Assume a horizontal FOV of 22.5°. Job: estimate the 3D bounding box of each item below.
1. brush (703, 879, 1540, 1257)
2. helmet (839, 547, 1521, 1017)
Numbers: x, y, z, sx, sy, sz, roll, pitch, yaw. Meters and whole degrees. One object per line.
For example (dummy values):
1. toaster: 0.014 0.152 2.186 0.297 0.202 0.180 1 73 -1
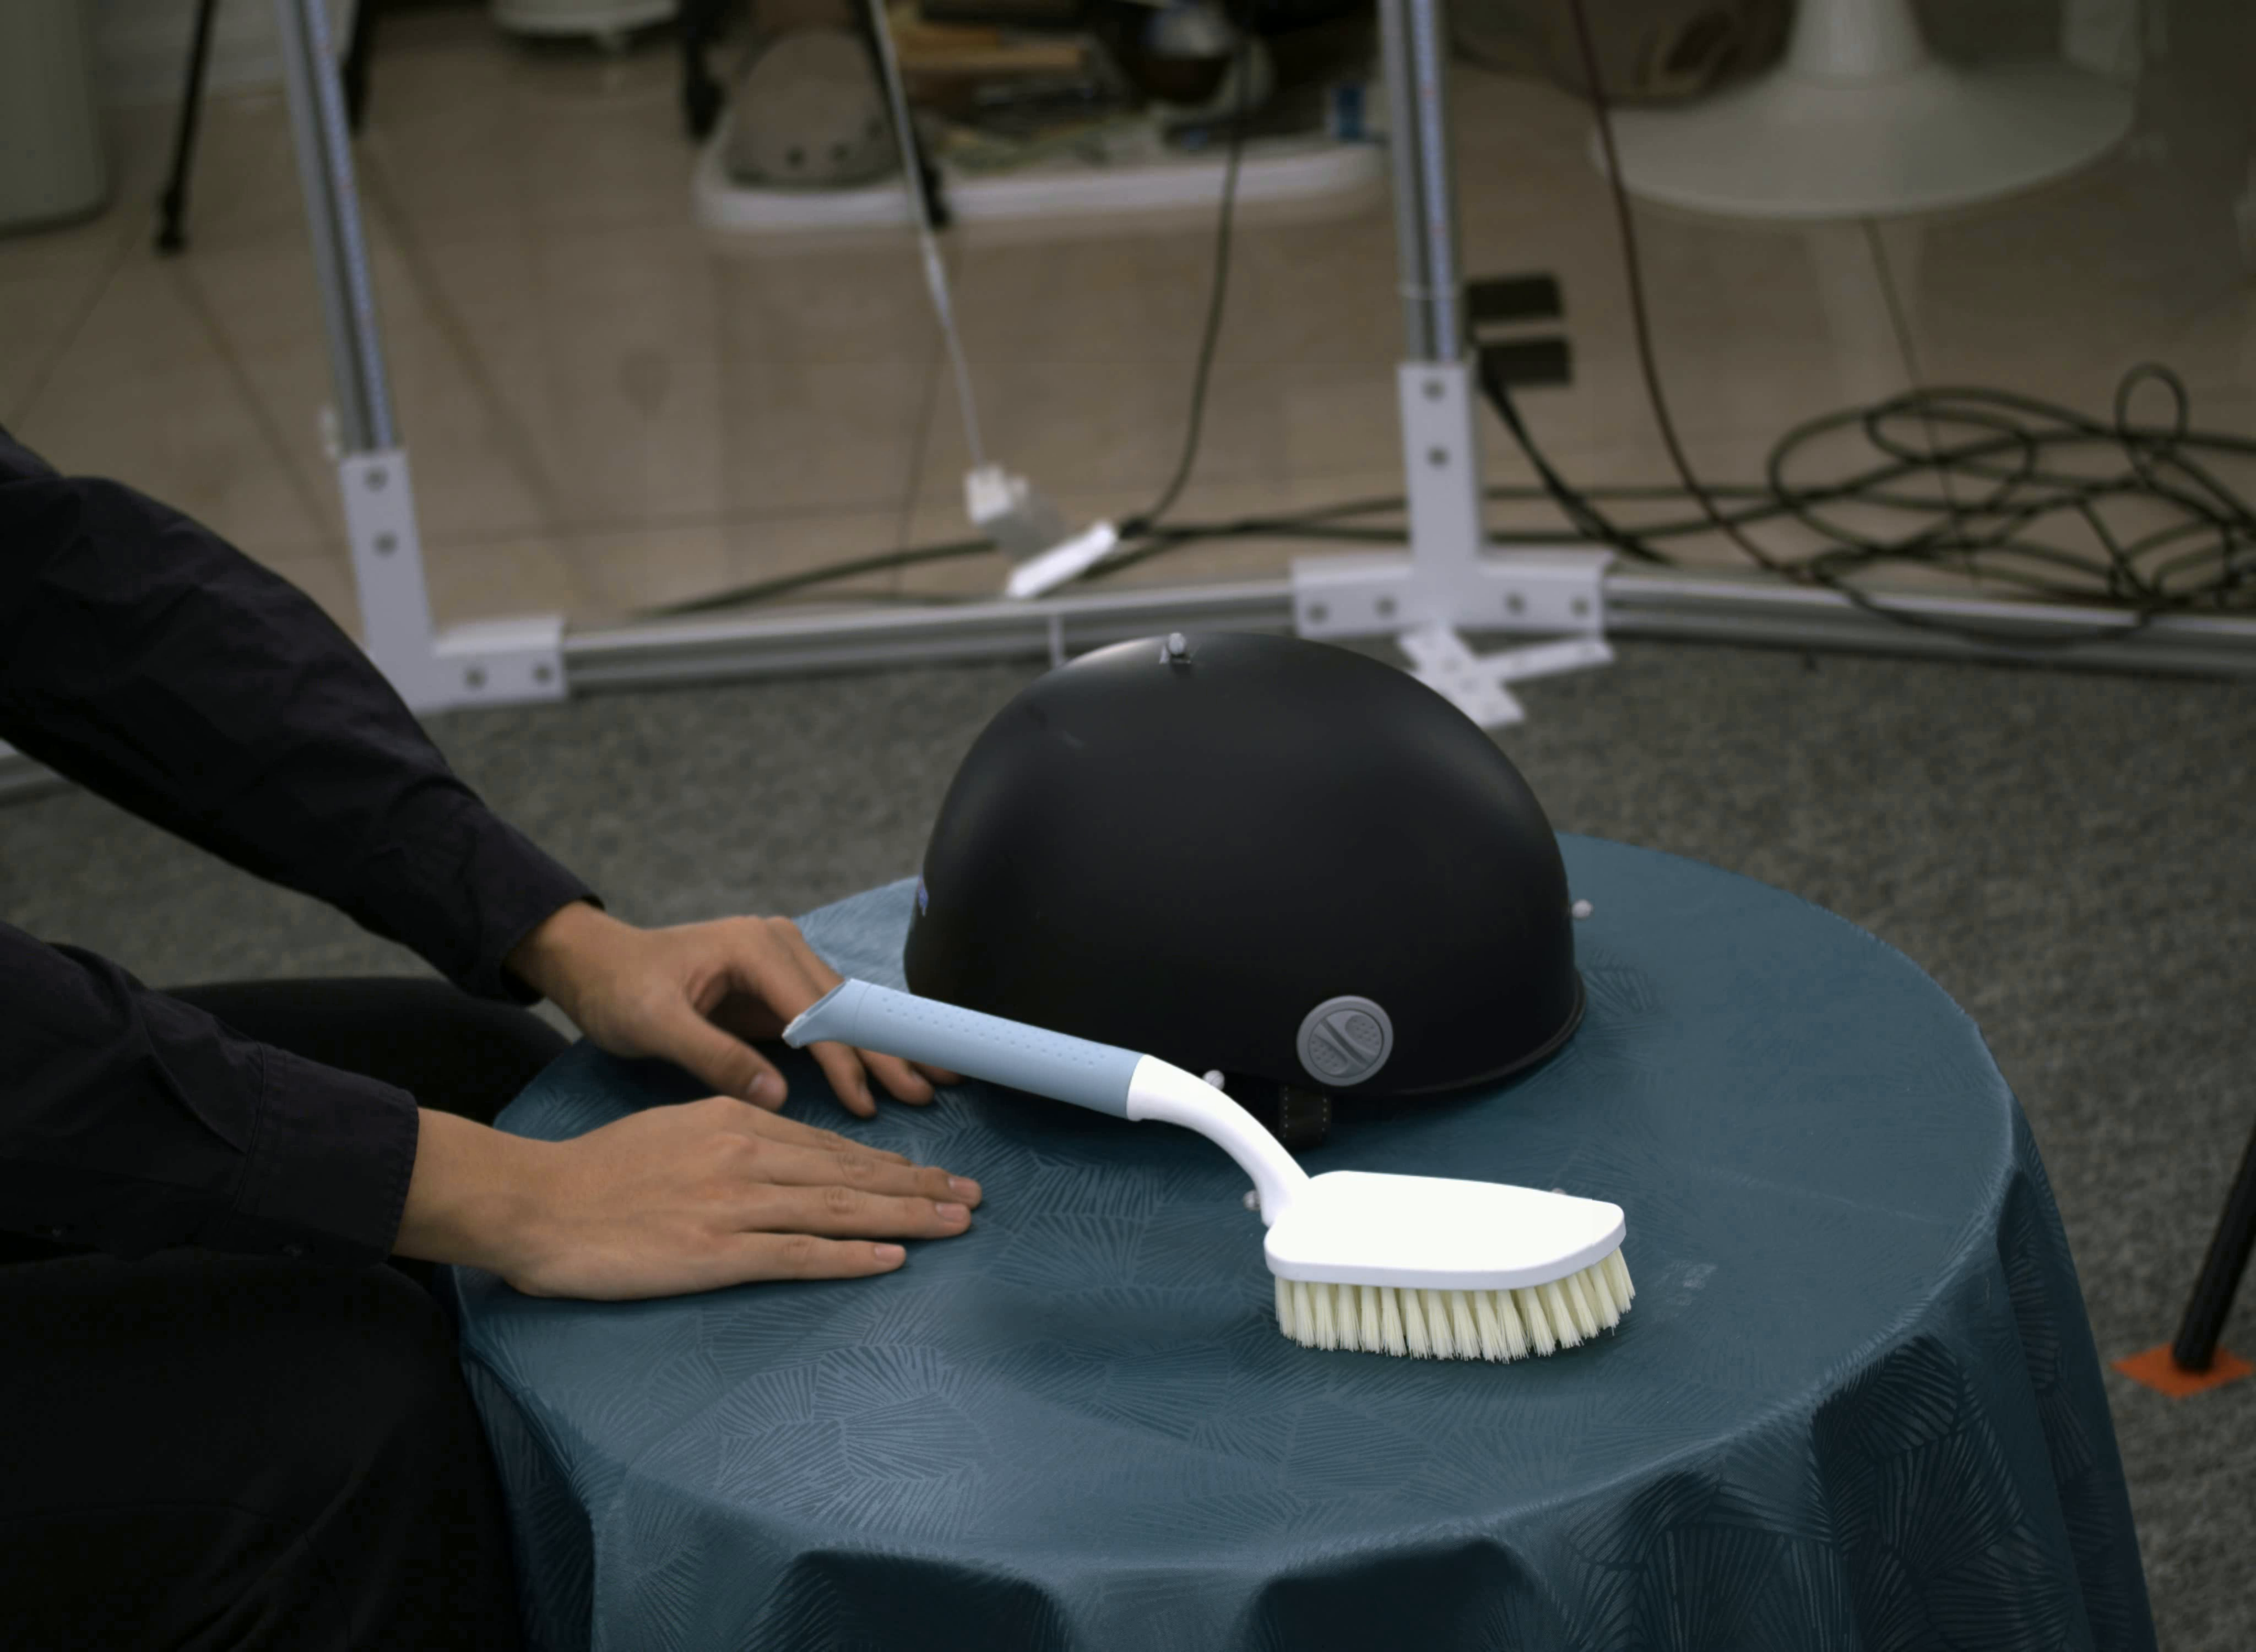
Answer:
1. brush: -0.006 0.099 2.082 0.324 0.084 0.083 15 -6 14
2. helmet: 0.018 -0.025 2.250 0.272 0.169 0.226 -1 27 5
